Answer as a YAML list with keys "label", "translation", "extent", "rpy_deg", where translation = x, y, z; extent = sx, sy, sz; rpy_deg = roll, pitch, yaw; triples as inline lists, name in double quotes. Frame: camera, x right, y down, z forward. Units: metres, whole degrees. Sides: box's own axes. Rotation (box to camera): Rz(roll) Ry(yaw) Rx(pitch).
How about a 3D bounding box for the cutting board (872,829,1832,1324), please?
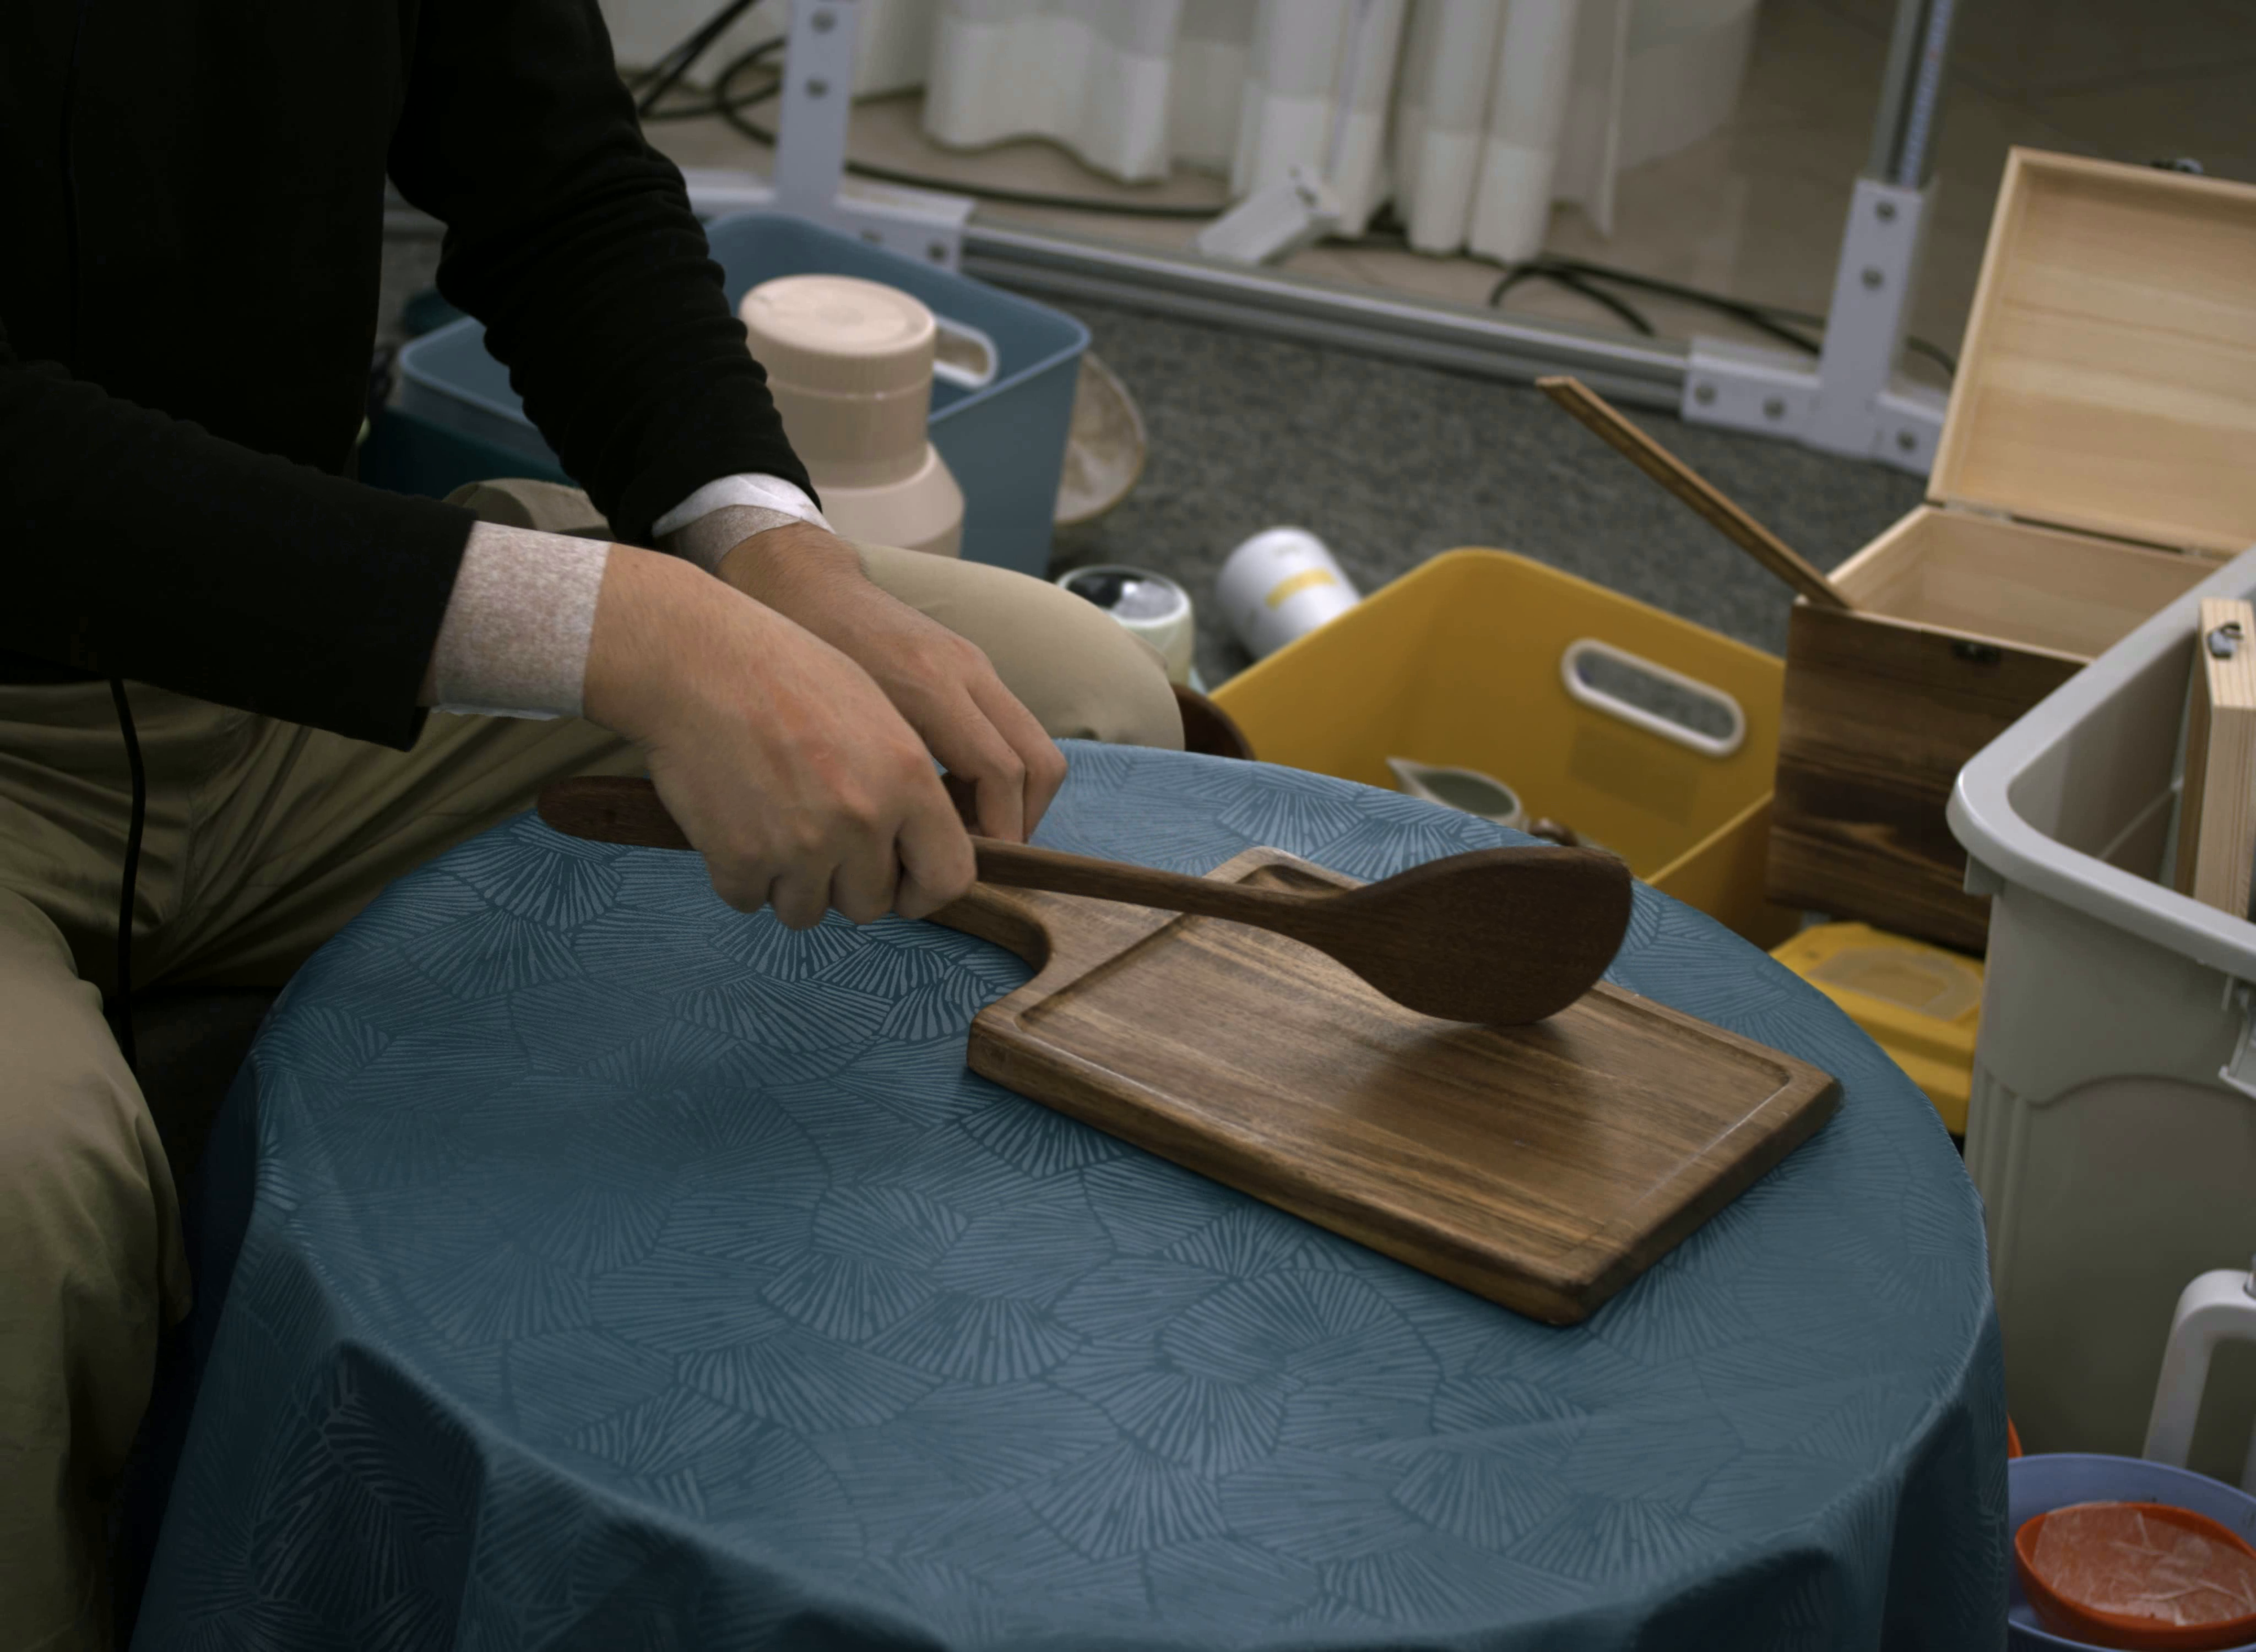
- label: "cutting board"
  translation: [0.056, 0.069, 1.898]
  extent: [0.354, 0.023, 0.200]
  rpy_deg: [22, 30, 27]

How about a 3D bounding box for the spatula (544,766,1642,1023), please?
- label: "spatula"
  translation: [-0.011, 0.016, 1.841]
  extent: [0.384, 0.096, 0.016]
  rpy_deg: [9, 47, -9]
